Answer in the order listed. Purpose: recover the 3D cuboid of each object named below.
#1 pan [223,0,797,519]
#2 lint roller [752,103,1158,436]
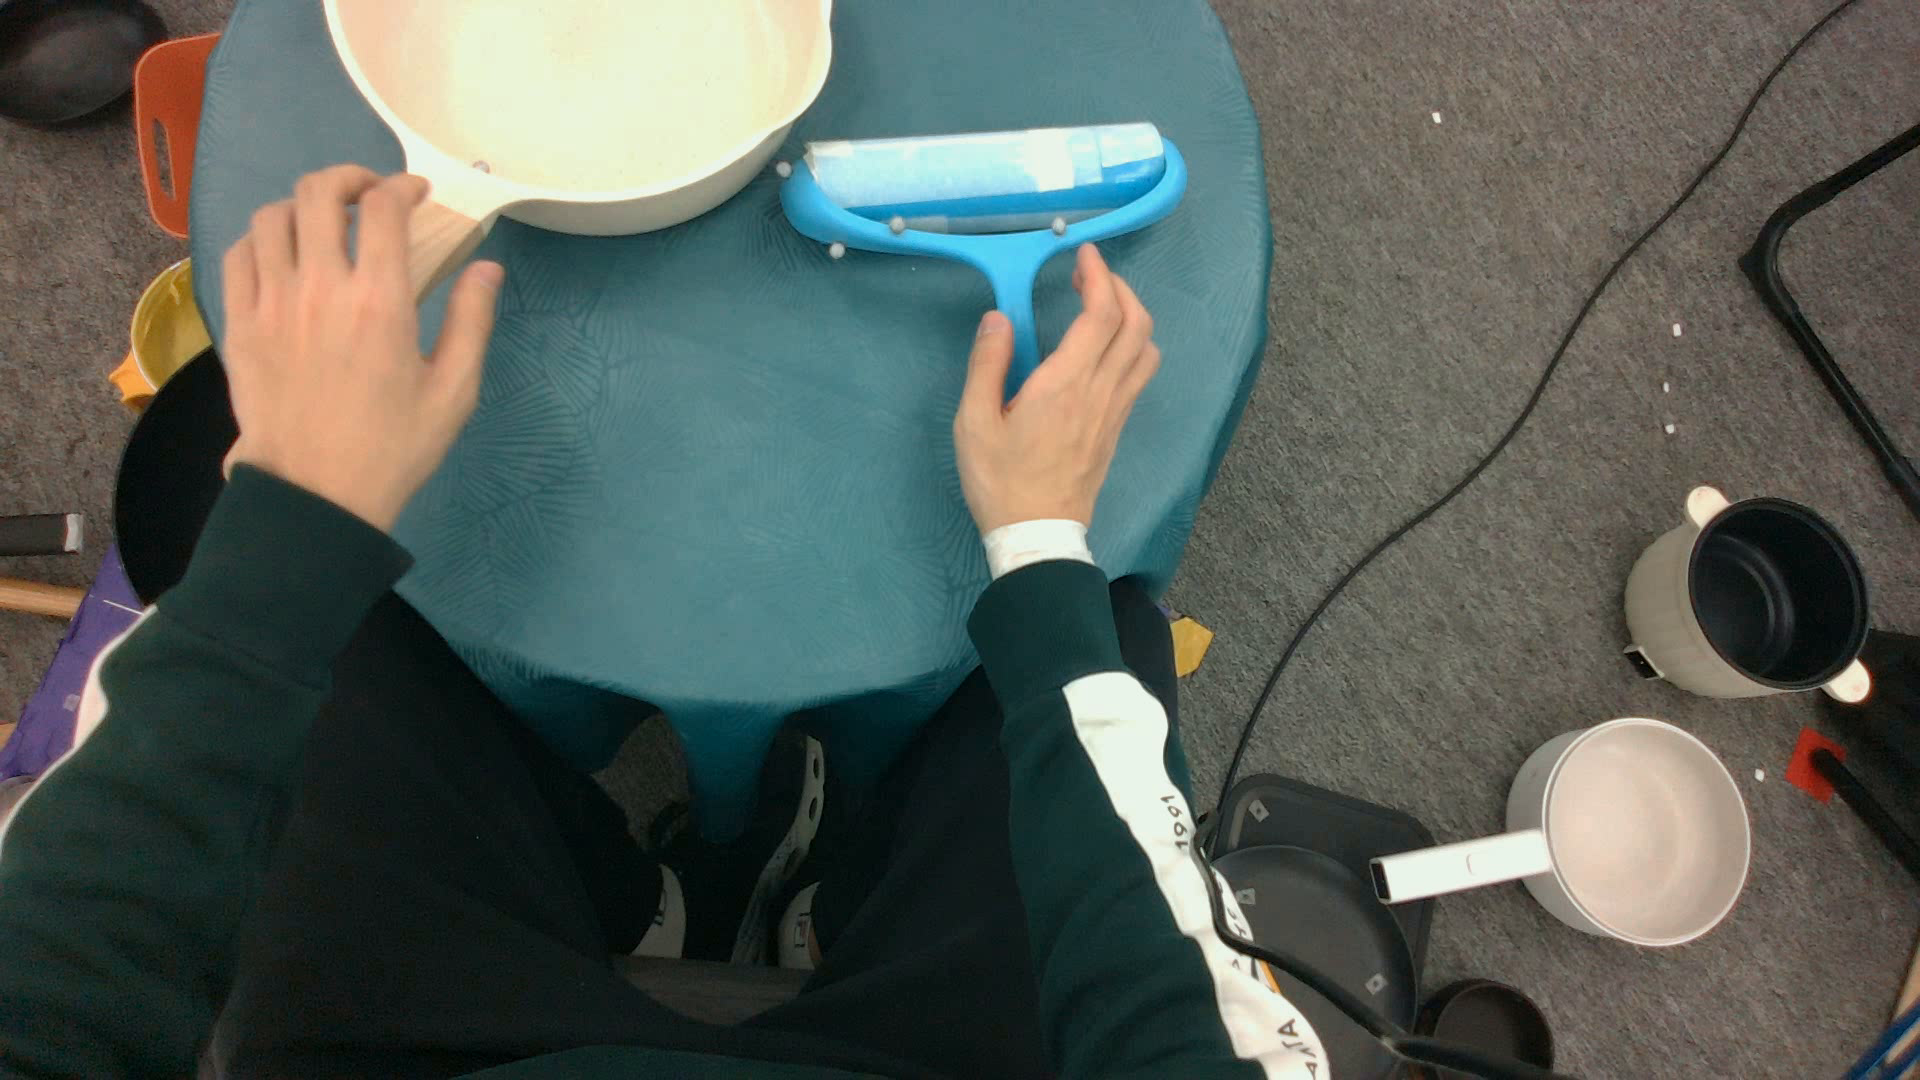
[{"bbox_3d":[-0.248,-0.201,0.705,0.263,0.101,0.436,23,75,-5],"label":"pan"},{"bbox_3d":[0.012,-0.151,0.757,0.229,0.068,0.180,-10,78,-13],"label":"lint roller"}]
